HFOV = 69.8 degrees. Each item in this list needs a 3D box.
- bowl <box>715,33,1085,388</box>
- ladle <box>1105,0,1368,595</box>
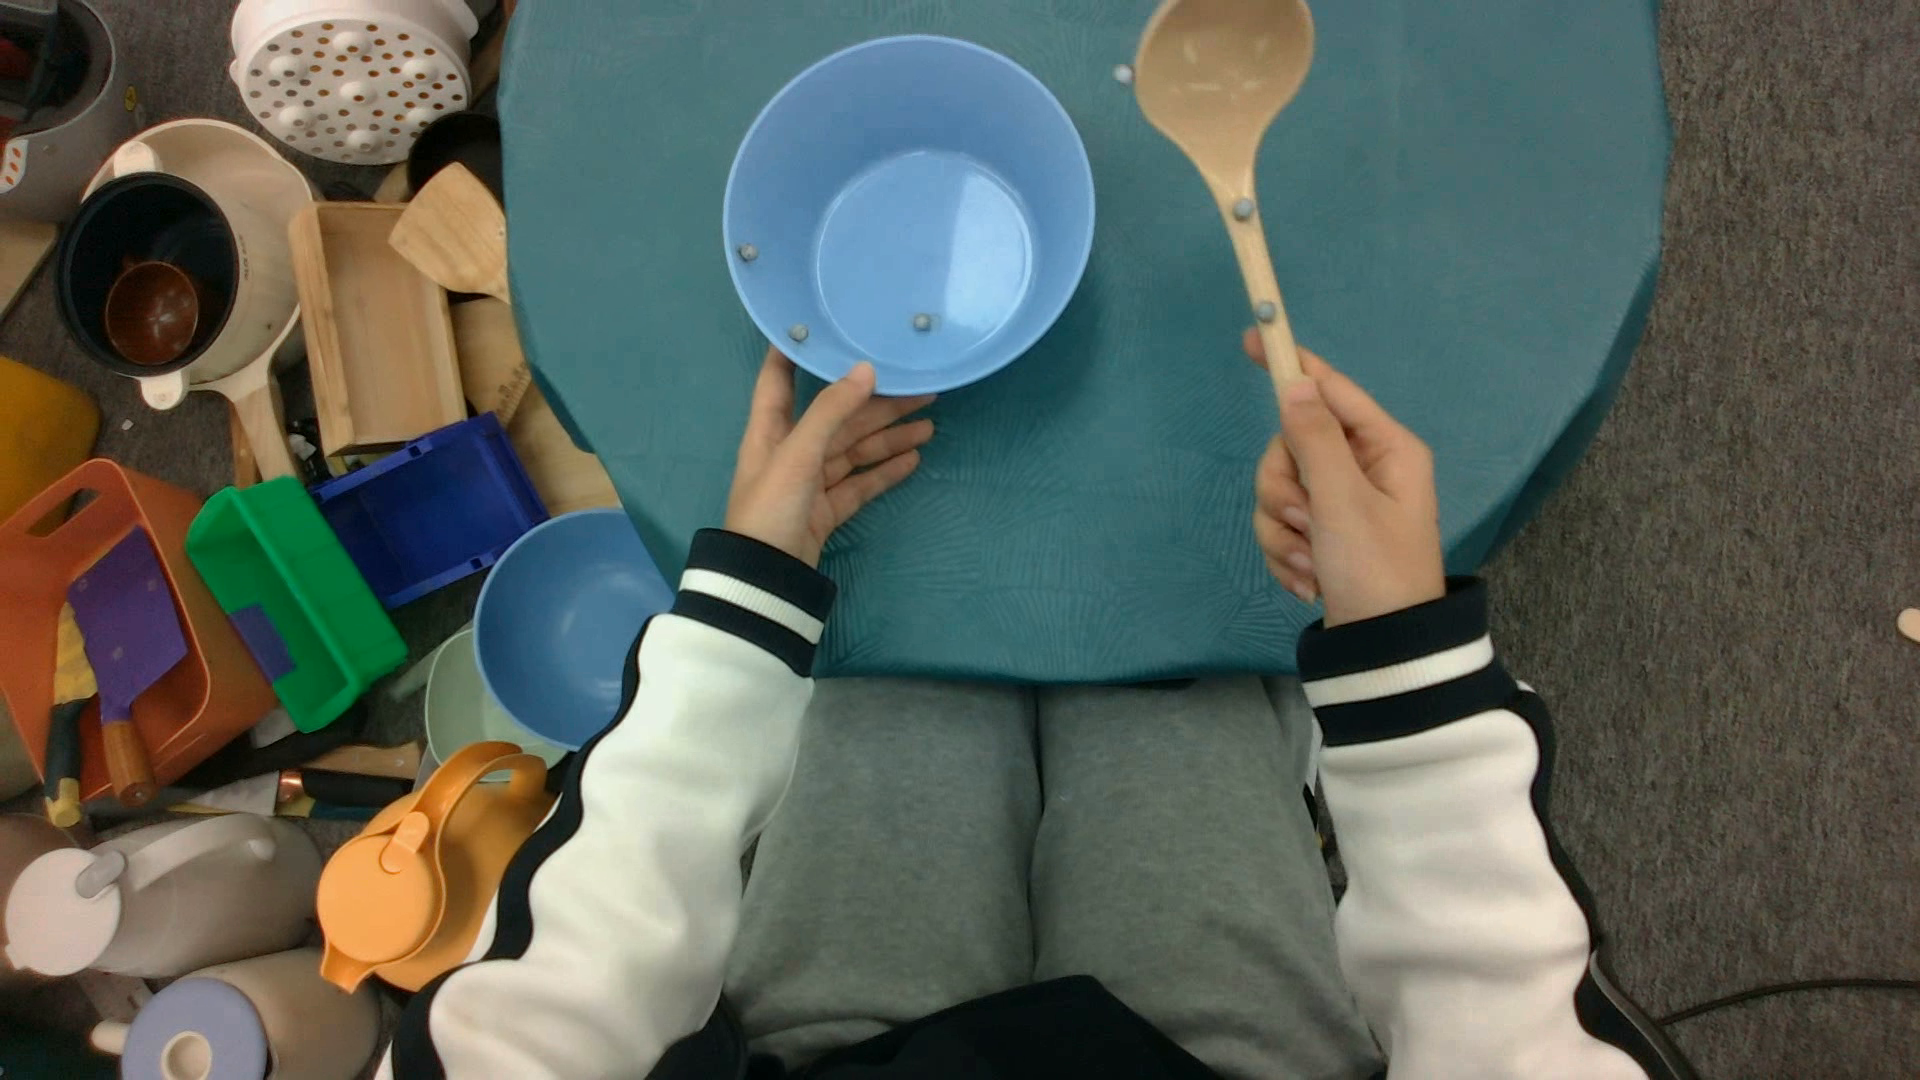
[{"bbox_3d":[-0.026,-0.151,0.675,0.176,0.070,0.176,-1,80,6],"label":"bowl"},{"bbox_3d":[0.117,-0.107,0.524,0.072,0.072,0.255,-14,75,-1],"label":"ladle"}]
